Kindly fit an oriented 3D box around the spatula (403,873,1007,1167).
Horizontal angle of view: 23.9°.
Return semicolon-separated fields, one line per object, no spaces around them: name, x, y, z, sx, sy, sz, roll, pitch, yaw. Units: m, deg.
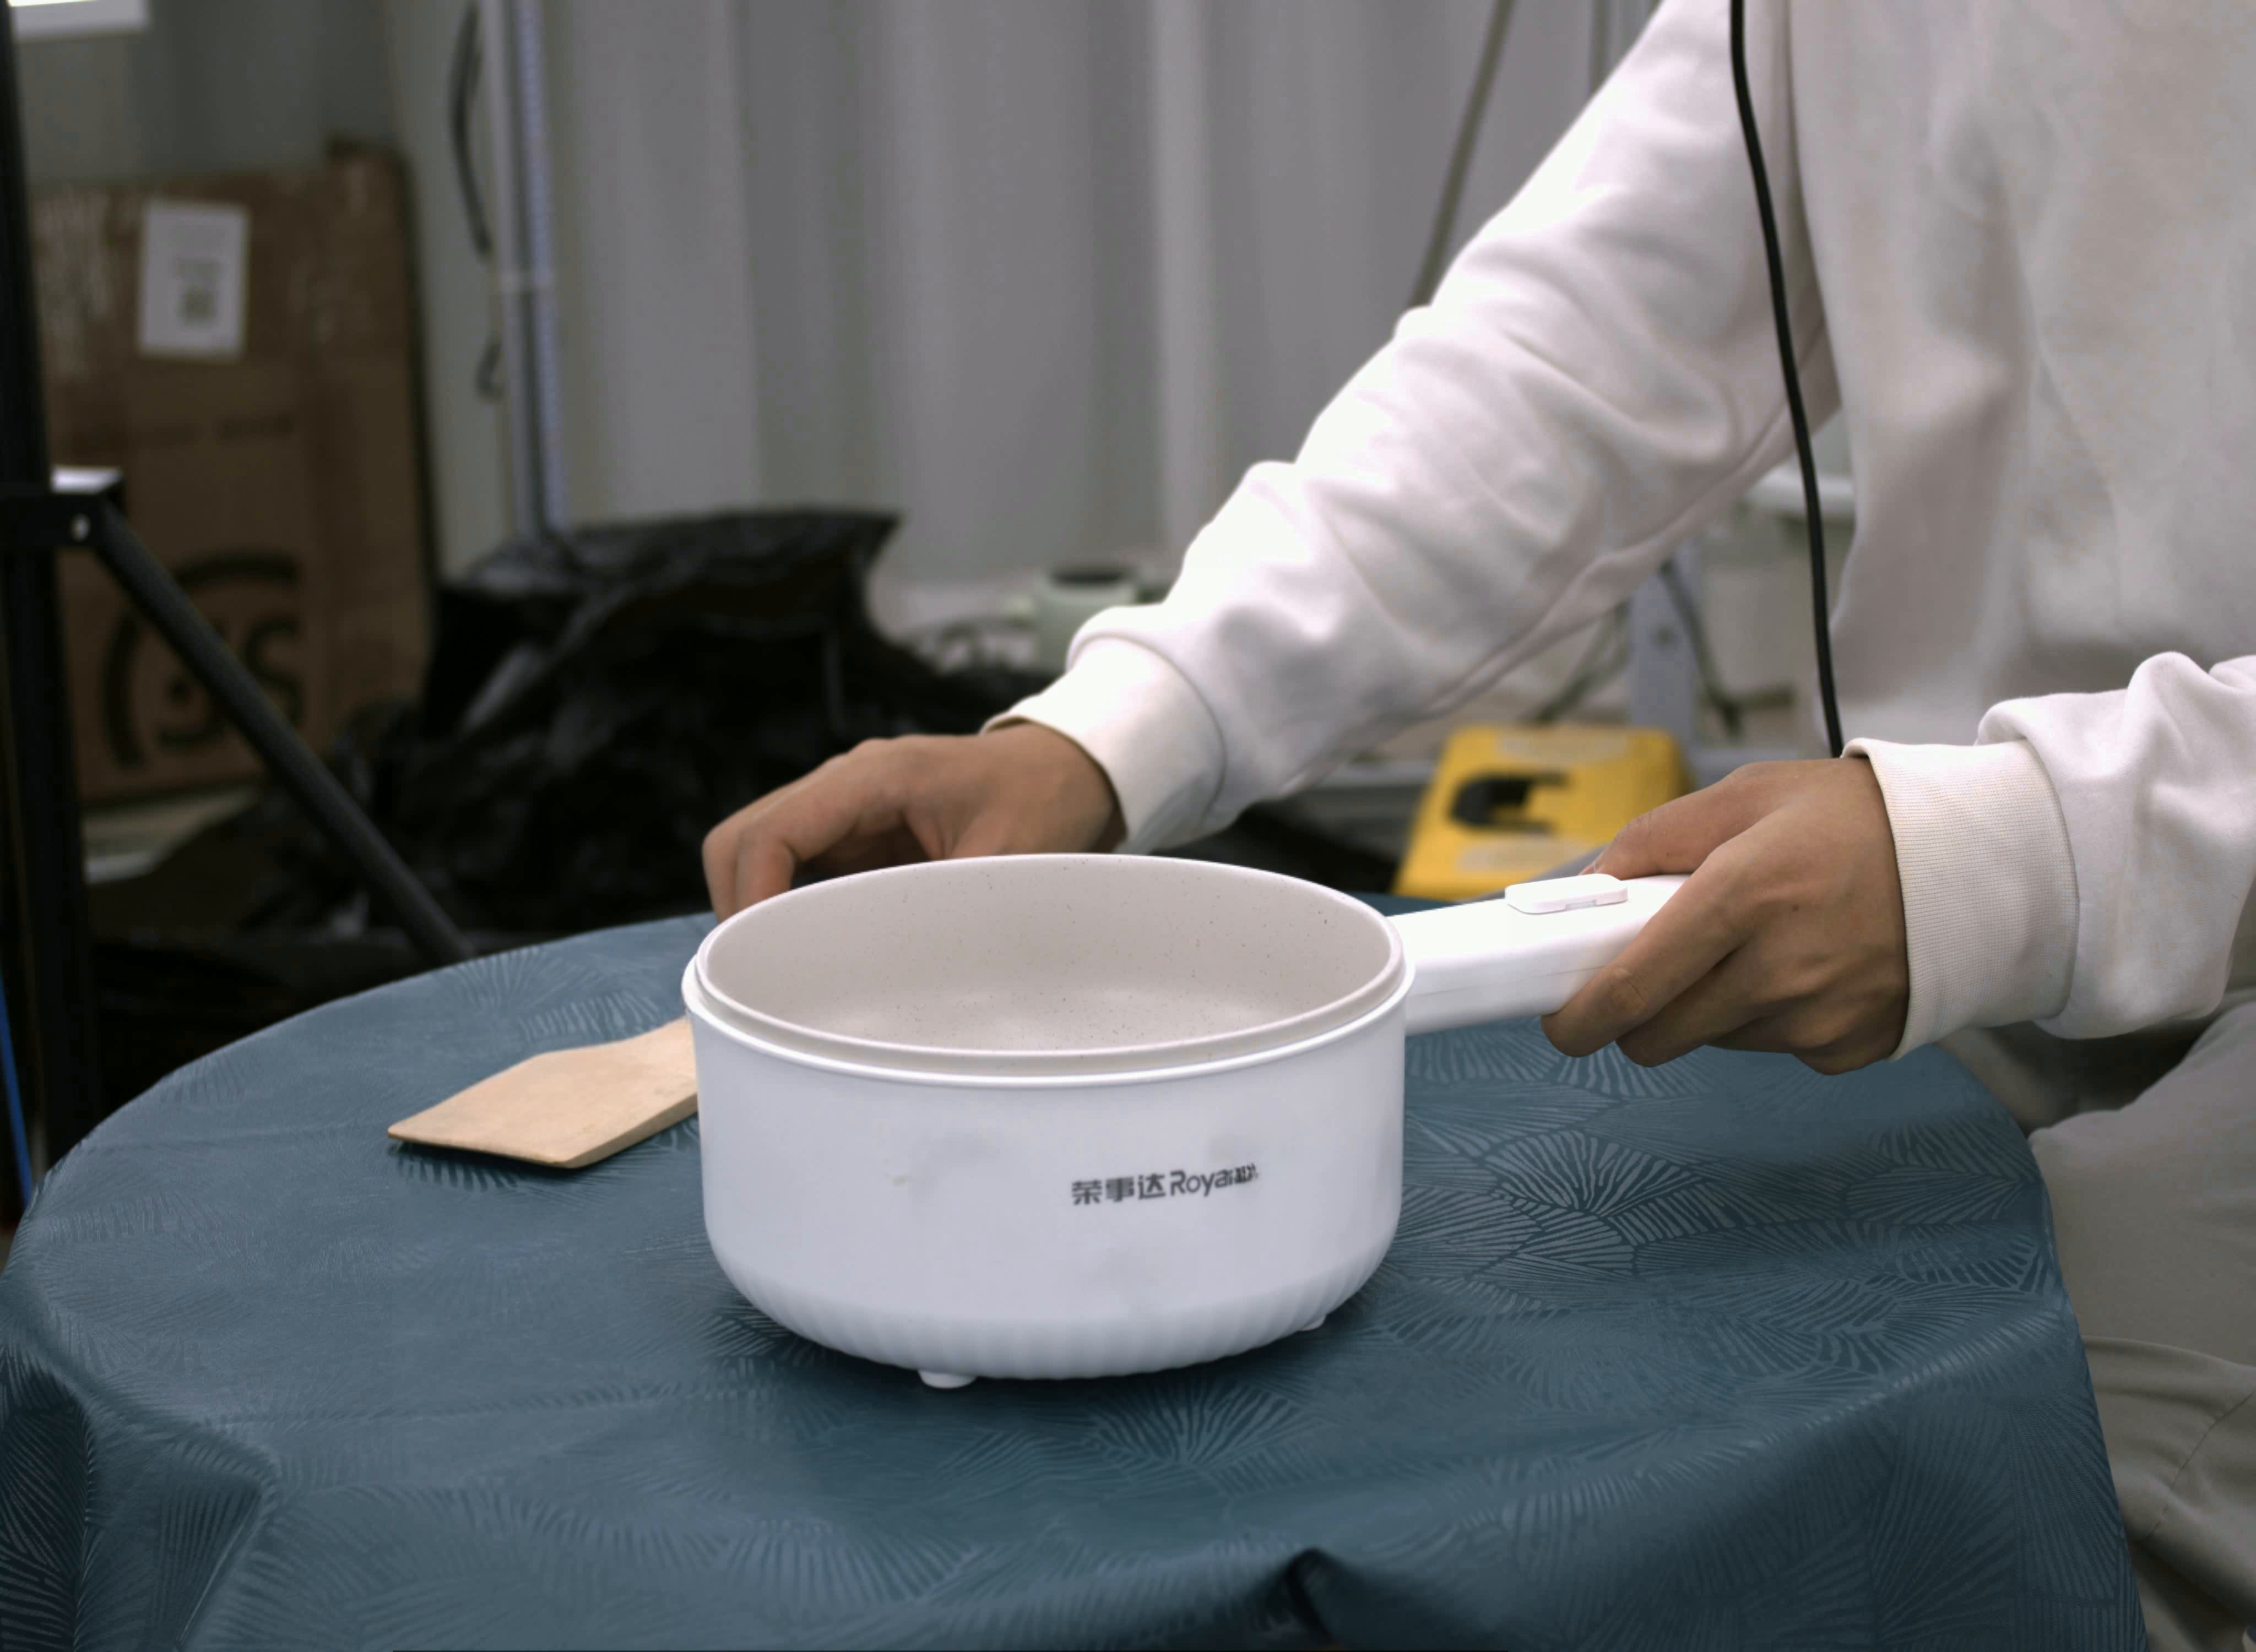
spatula;-0.123;0.060;1.727;0.073;0.010;0.288;6;19;30

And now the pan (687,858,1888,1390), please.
pan;0.050;0.075;1.494;0.348;0.102;0.205;-6;15;-21
